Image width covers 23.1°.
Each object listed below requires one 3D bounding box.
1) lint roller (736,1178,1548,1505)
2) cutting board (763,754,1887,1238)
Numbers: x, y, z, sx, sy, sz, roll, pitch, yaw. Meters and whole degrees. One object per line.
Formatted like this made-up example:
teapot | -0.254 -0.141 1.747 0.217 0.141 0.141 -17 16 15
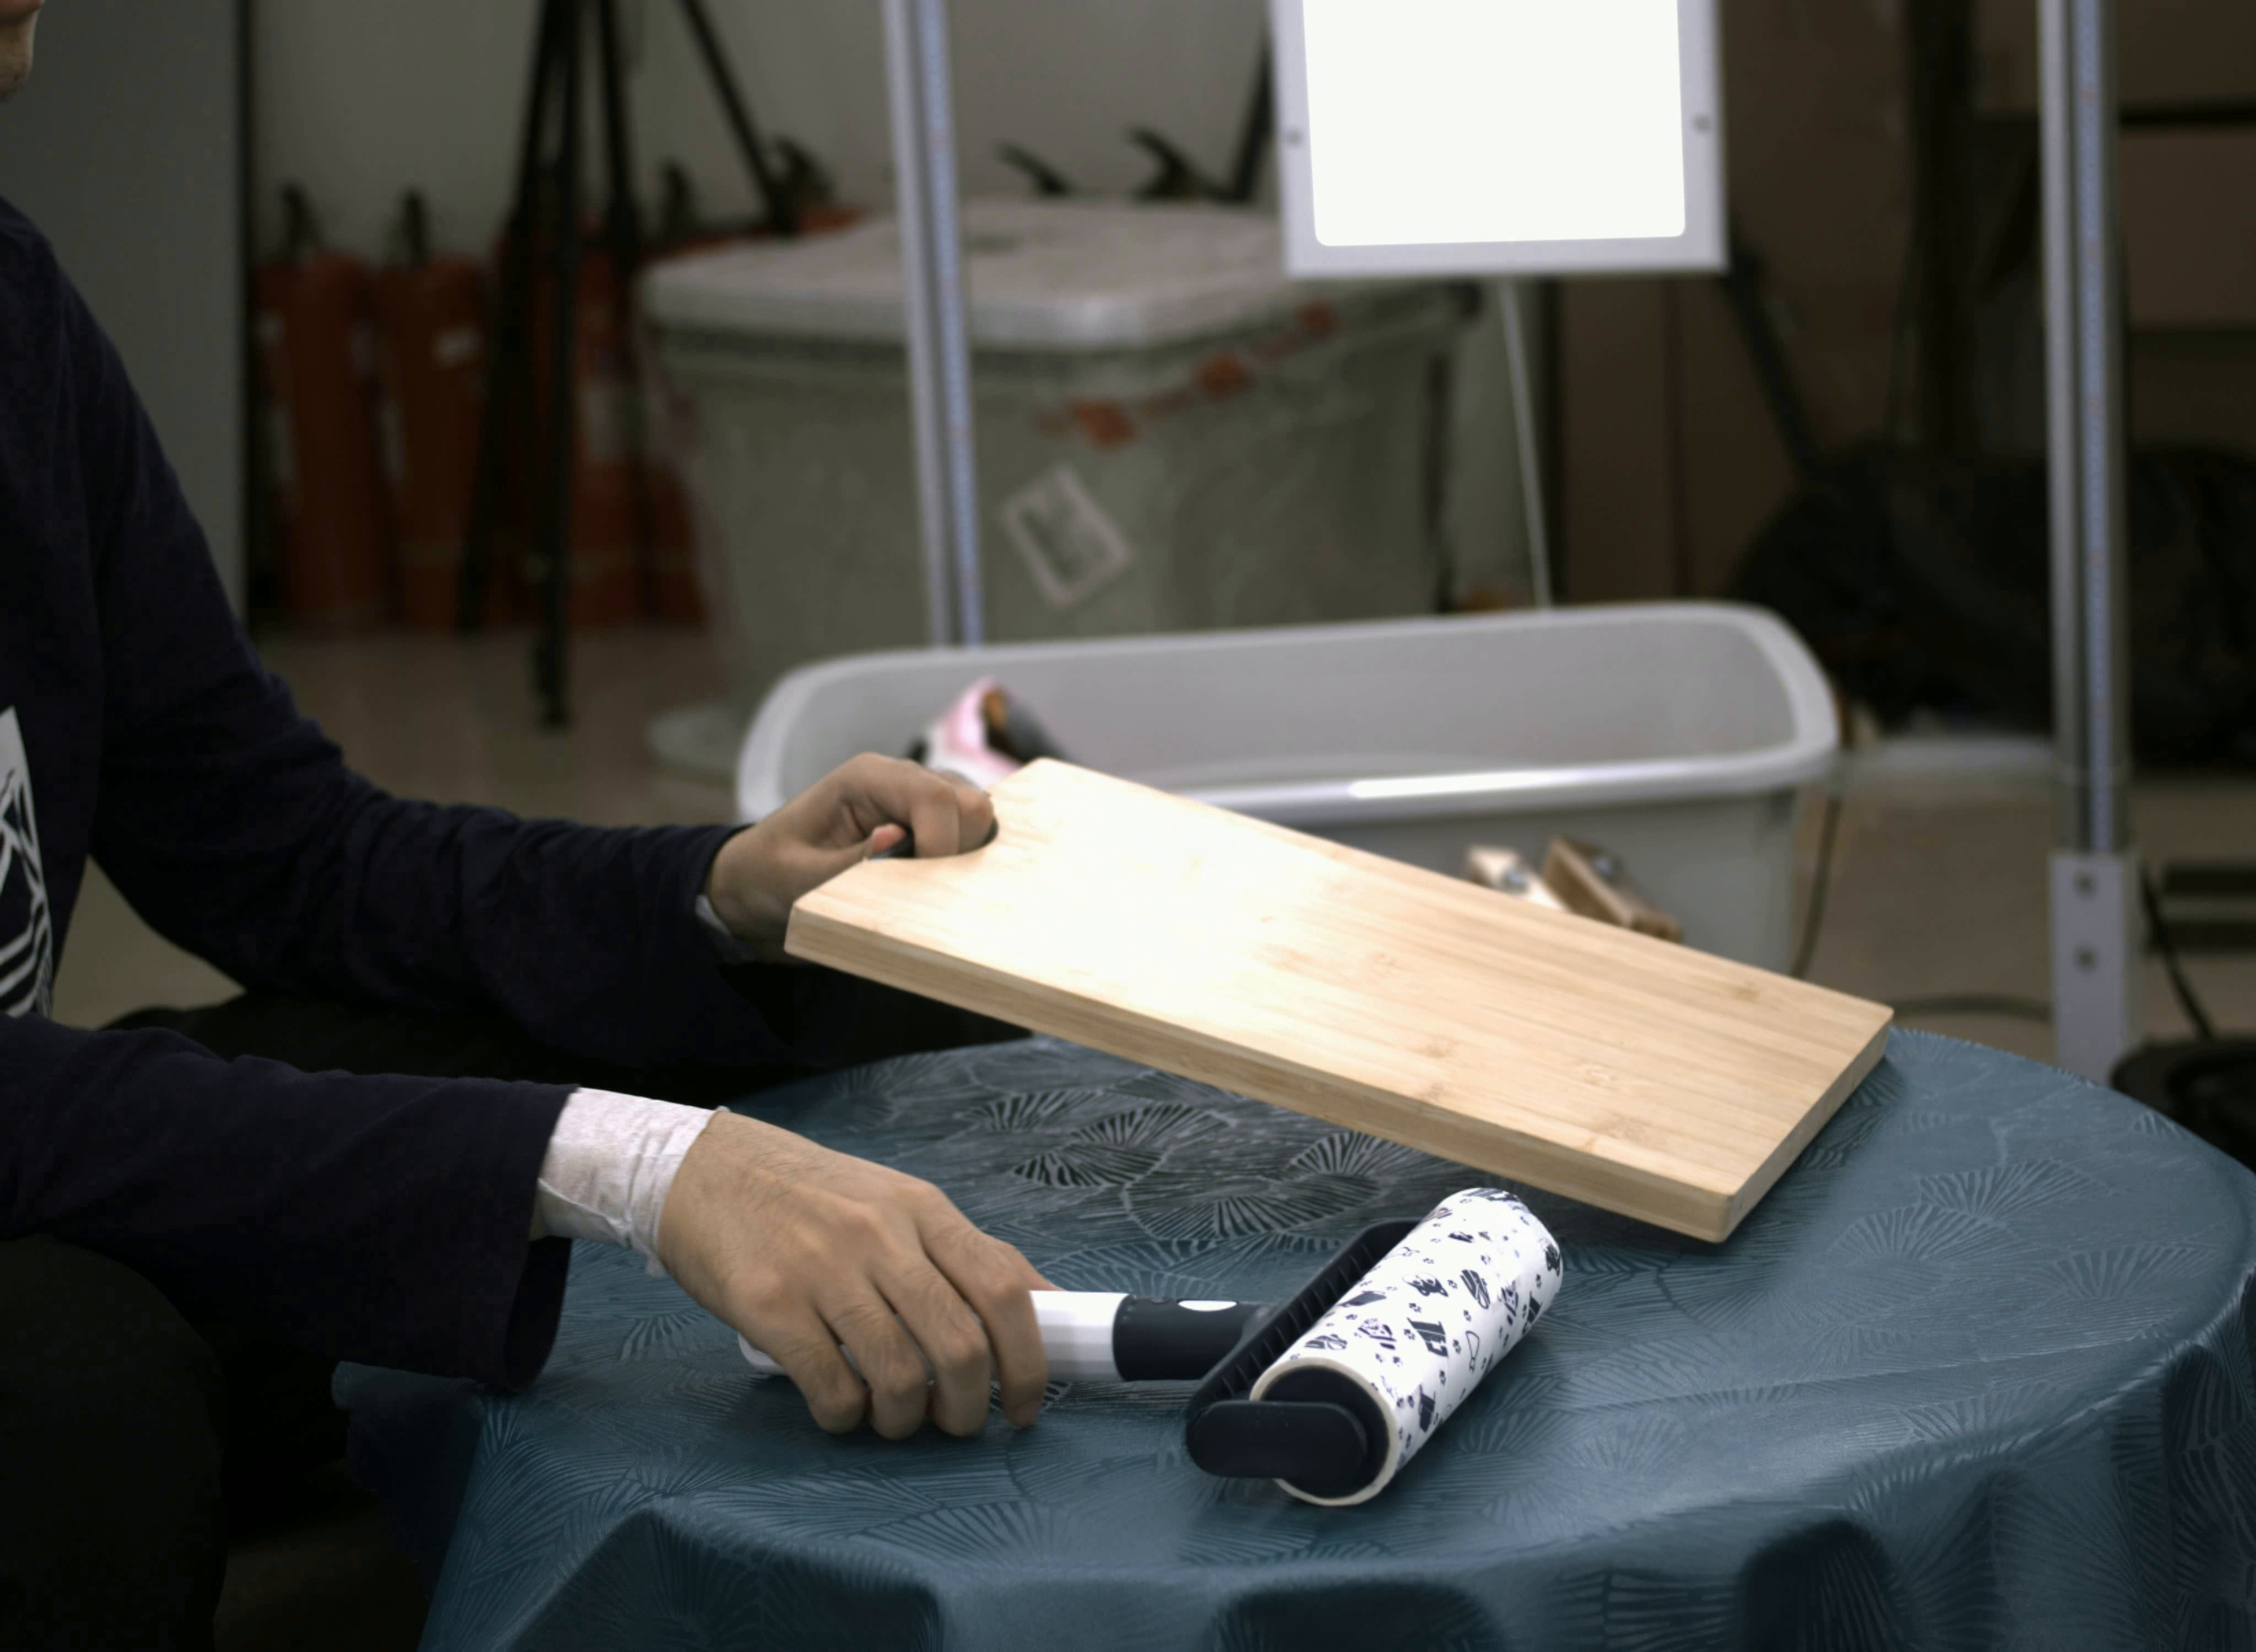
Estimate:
lint roller | -0.010 0.157 1.696 0.251 0.050 0.173 -2 15 24
cutting board | 0.075 0.054 1.933 0.352 0.024 0.246 16 18 18
